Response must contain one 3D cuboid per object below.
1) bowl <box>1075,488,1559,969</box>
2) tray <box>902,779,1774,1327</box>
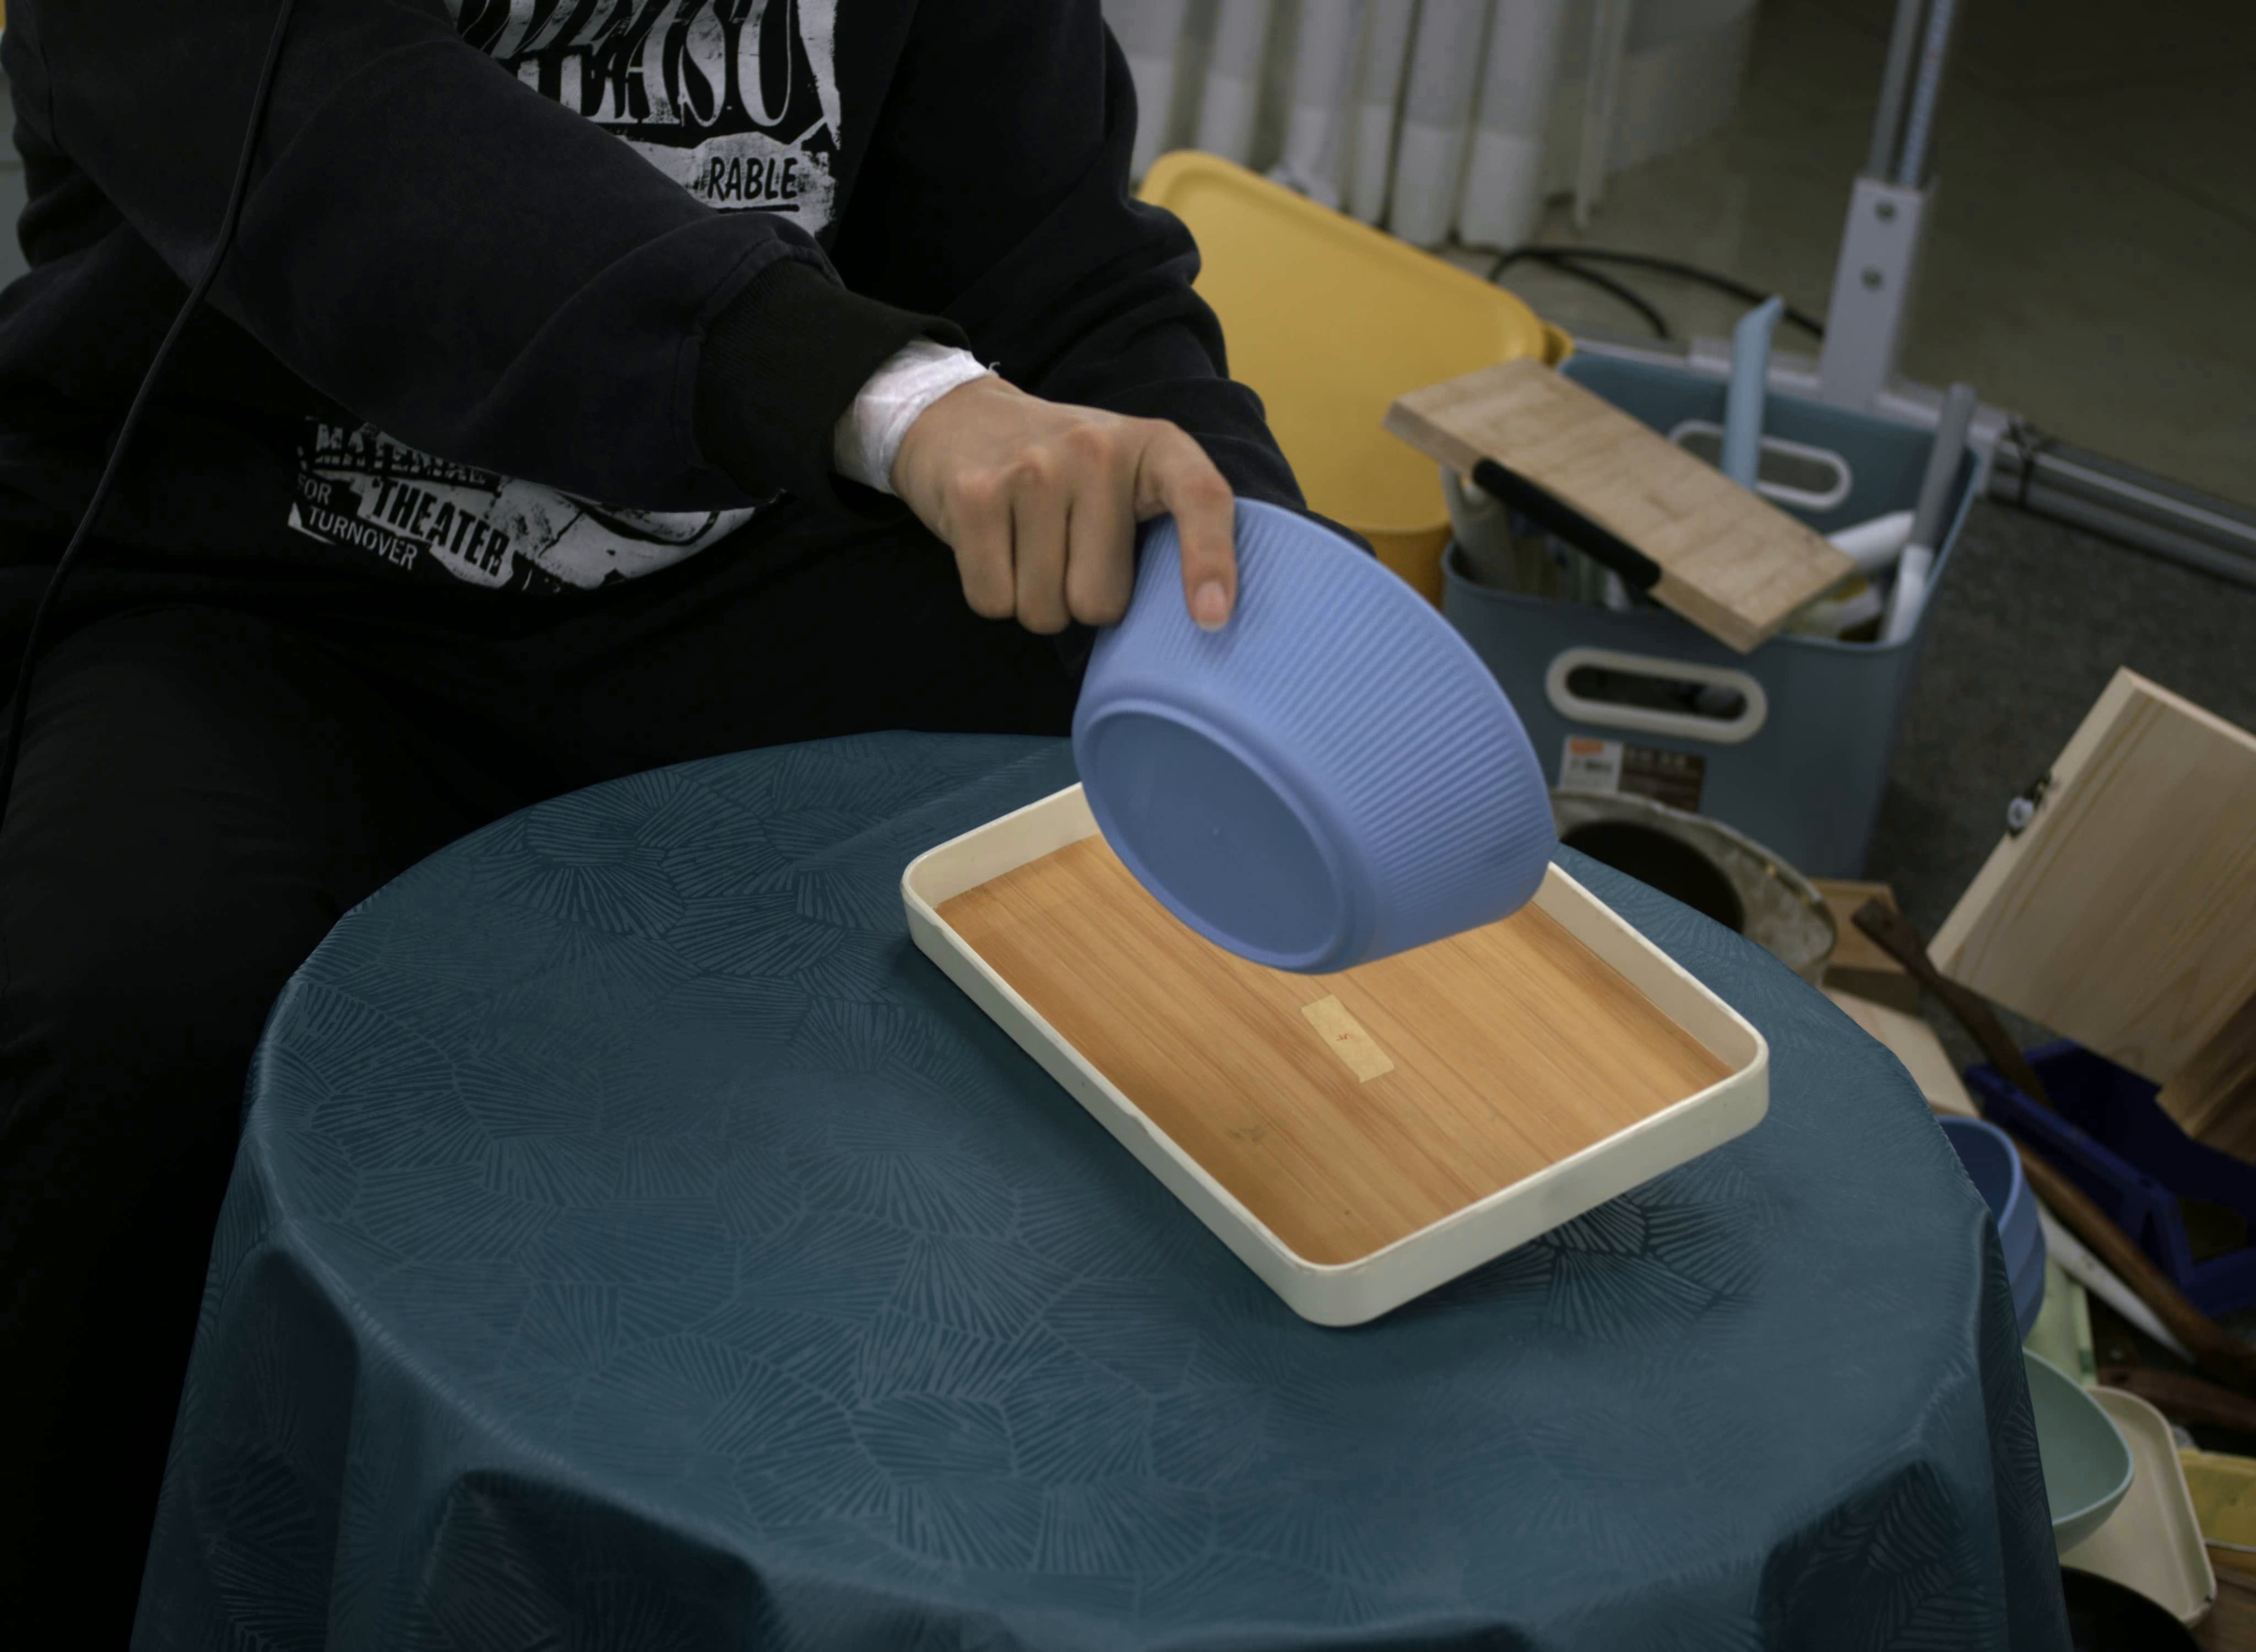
[{"bbox_3d":[0.048,-0.019,1.707,0.177,0.175,0.070,25,54,31],"label":"bowl"},{"bbox_3d":[0.069,0.057,1.865,0.191,0.027,0.303,-25,38,-20],"label":"tray"}]
